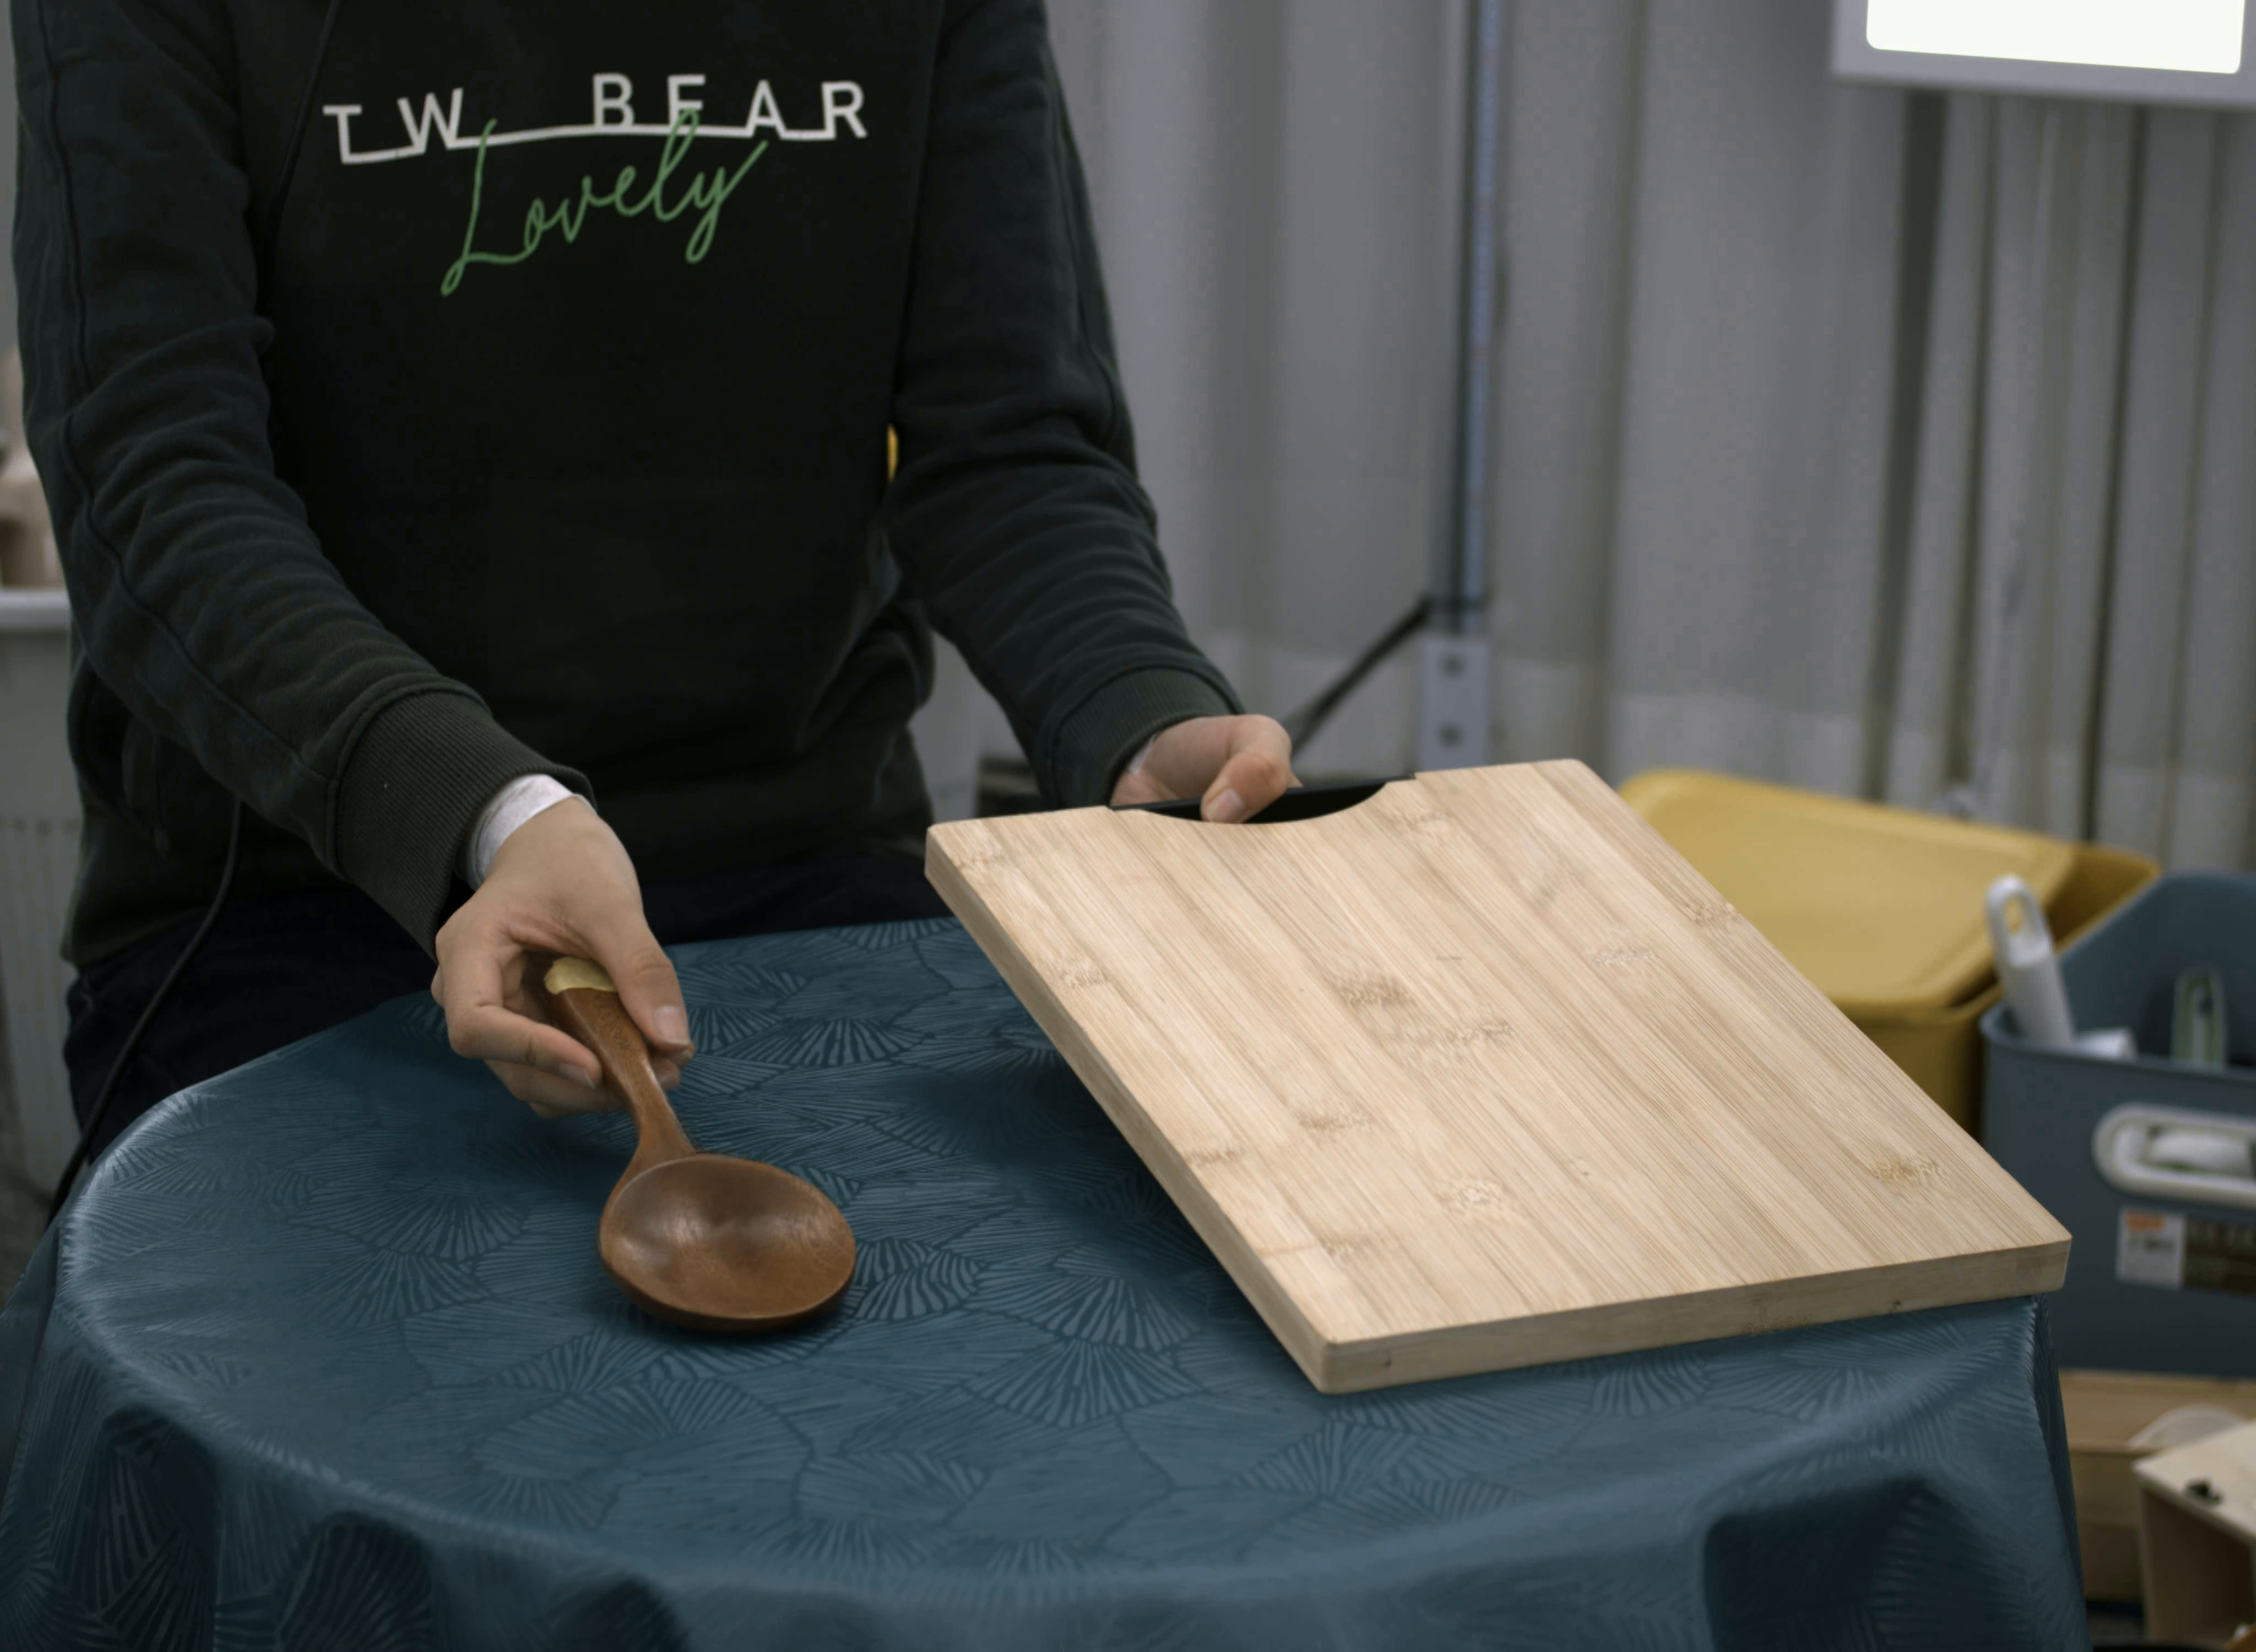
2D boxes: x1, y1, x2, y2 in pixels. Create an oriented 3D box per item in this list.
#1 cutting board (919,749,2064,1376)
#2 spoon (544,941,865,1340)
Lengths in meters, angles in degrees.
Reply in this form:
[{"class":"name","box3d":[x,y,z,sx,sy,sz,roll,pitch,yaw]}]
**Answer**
[{"class":"cutting board","box3d":[0.103,0.066,1.647,0.251,0.024,0.344,-5,28,-22]},{"class":"spoon","box3d":[-0.137,0.094,1.582,0.075,0.017,0.213,-9,33,-19]}]
